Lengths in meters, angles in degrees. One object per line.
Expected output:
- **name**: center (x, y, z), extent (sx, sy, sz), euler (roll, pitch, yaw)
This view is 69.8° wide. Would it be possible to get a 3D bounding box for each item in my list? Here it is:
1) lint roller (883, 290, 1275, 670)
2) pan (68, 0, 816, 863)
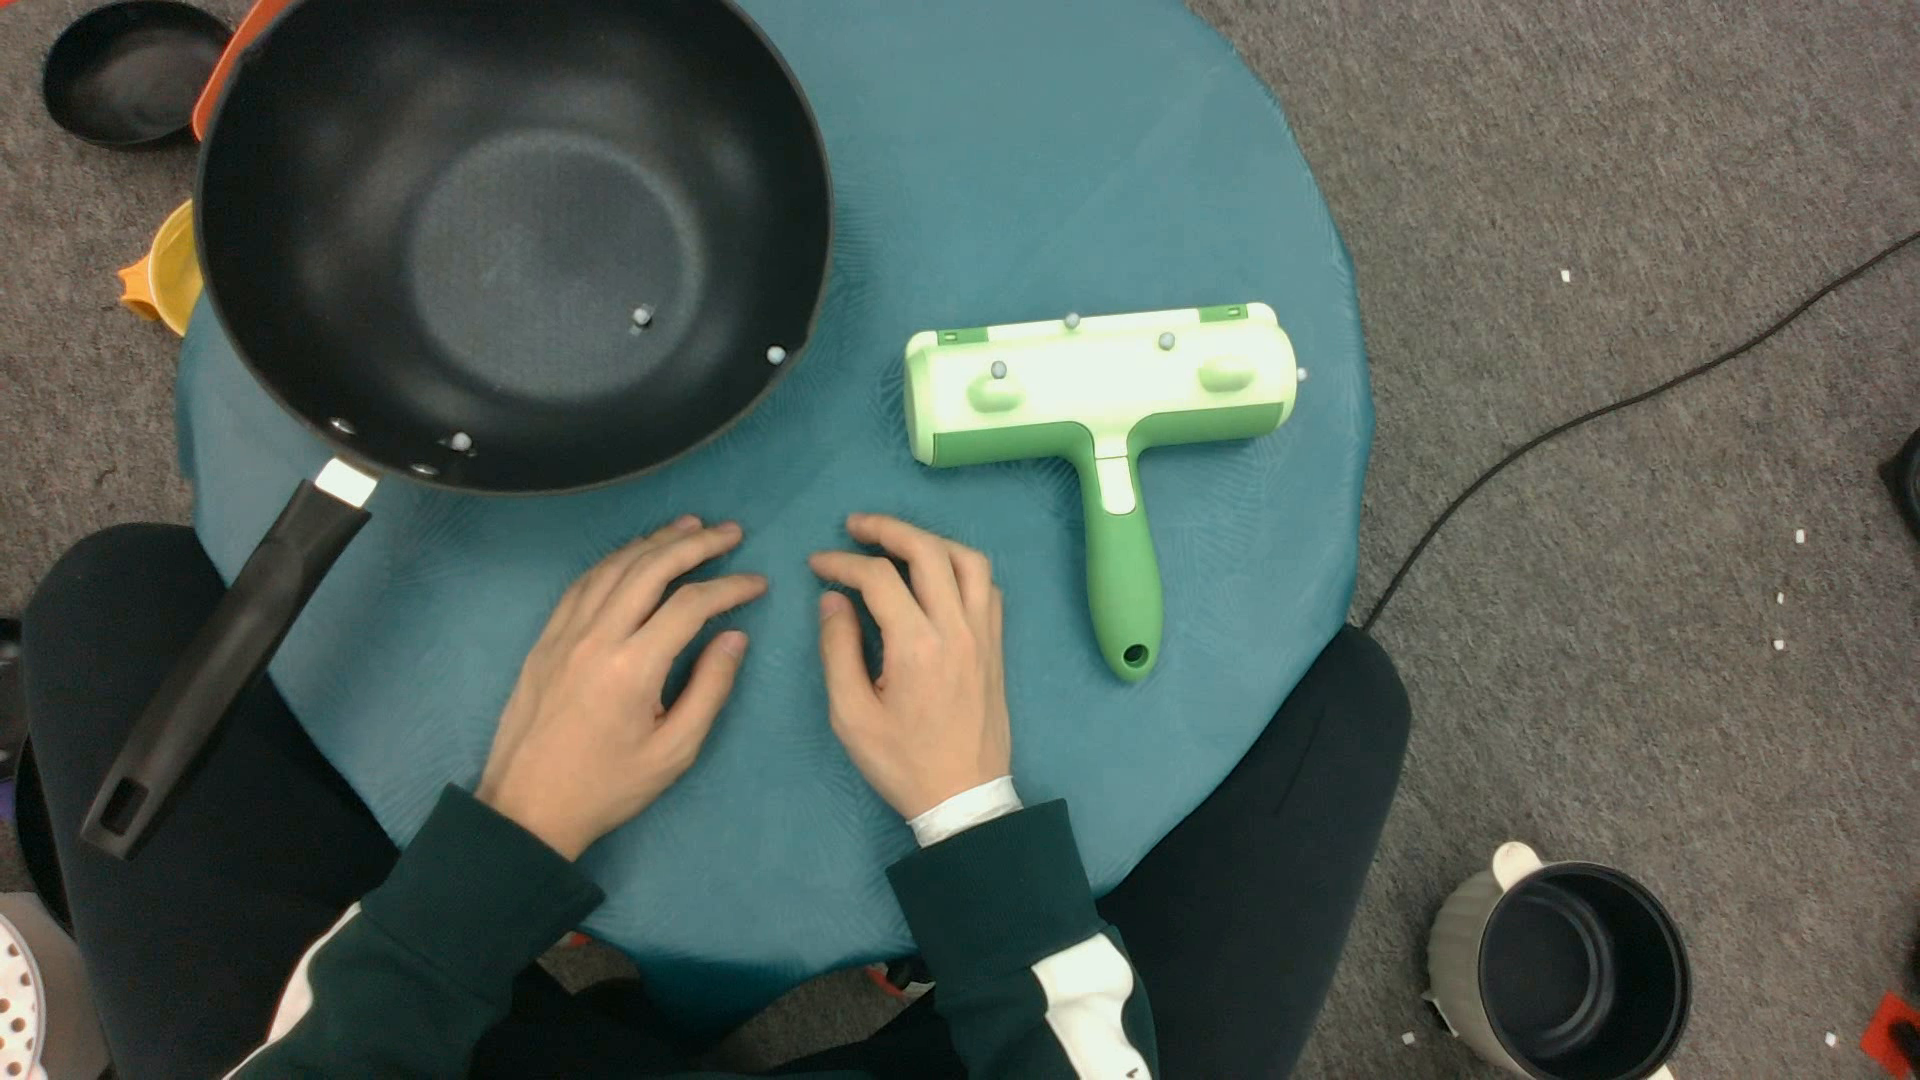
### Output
- **lint roller**: center (0.070, -0.032, 0.679), extent (0.199, 0.082, 0.183), euler (-7, 74, -9)
- **pan**: center (-0.250, -0.068, 0.641), extent (0.288, 0.086, 0.464), euler (26, 77, -1)
